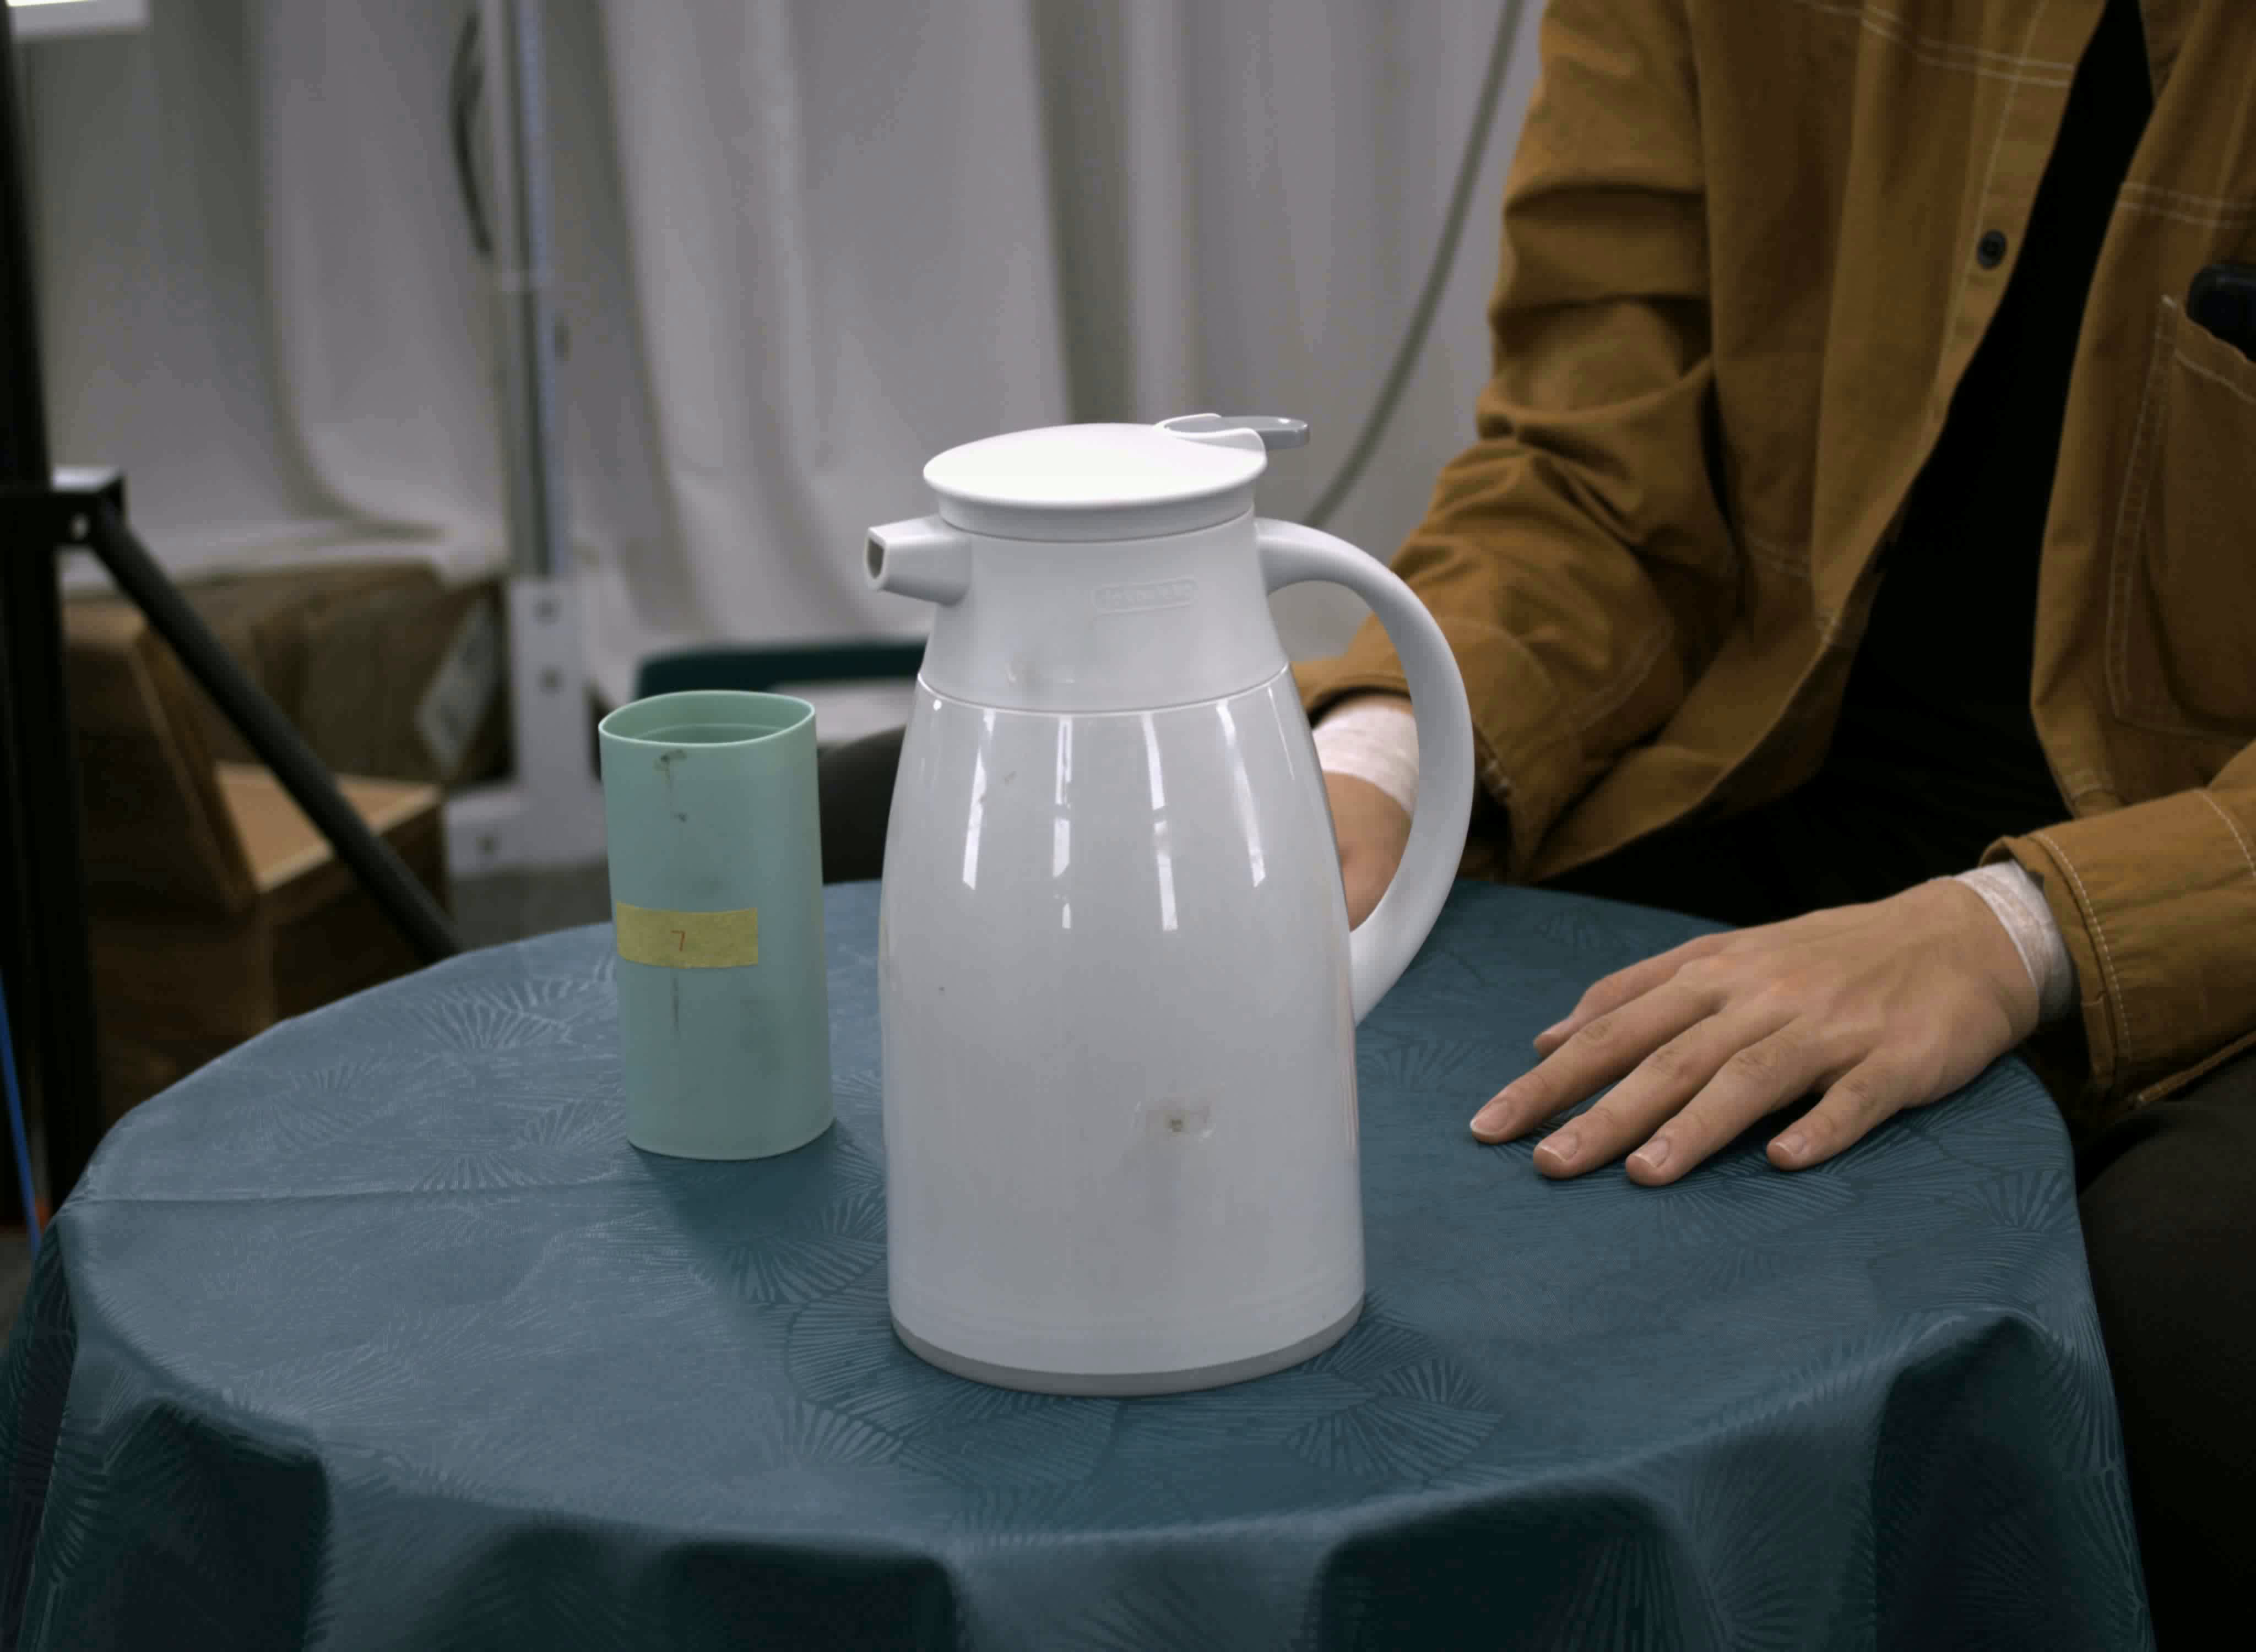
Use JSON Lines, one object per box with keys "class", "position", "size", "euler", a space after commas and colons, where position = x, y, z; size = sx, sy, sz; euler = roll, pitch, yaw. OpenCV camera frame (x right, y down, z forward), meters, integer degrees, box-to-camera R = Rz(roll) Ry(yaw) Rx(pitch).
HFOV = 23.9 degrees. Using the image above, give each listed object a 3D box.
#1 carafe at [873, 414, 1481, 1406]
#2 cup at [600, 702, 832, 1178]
{"class": "carafe", "position": [0.014, 0.014, 1.437], "size": [0.165, 0.248, 0.134], "euler": [-5, 17, -16]}
{"class": "cup", "position": [-0.123, 0.033, 1.614], "size": [0.066, 0.132, 0.067], "euler": [-2, 15, -1]}
